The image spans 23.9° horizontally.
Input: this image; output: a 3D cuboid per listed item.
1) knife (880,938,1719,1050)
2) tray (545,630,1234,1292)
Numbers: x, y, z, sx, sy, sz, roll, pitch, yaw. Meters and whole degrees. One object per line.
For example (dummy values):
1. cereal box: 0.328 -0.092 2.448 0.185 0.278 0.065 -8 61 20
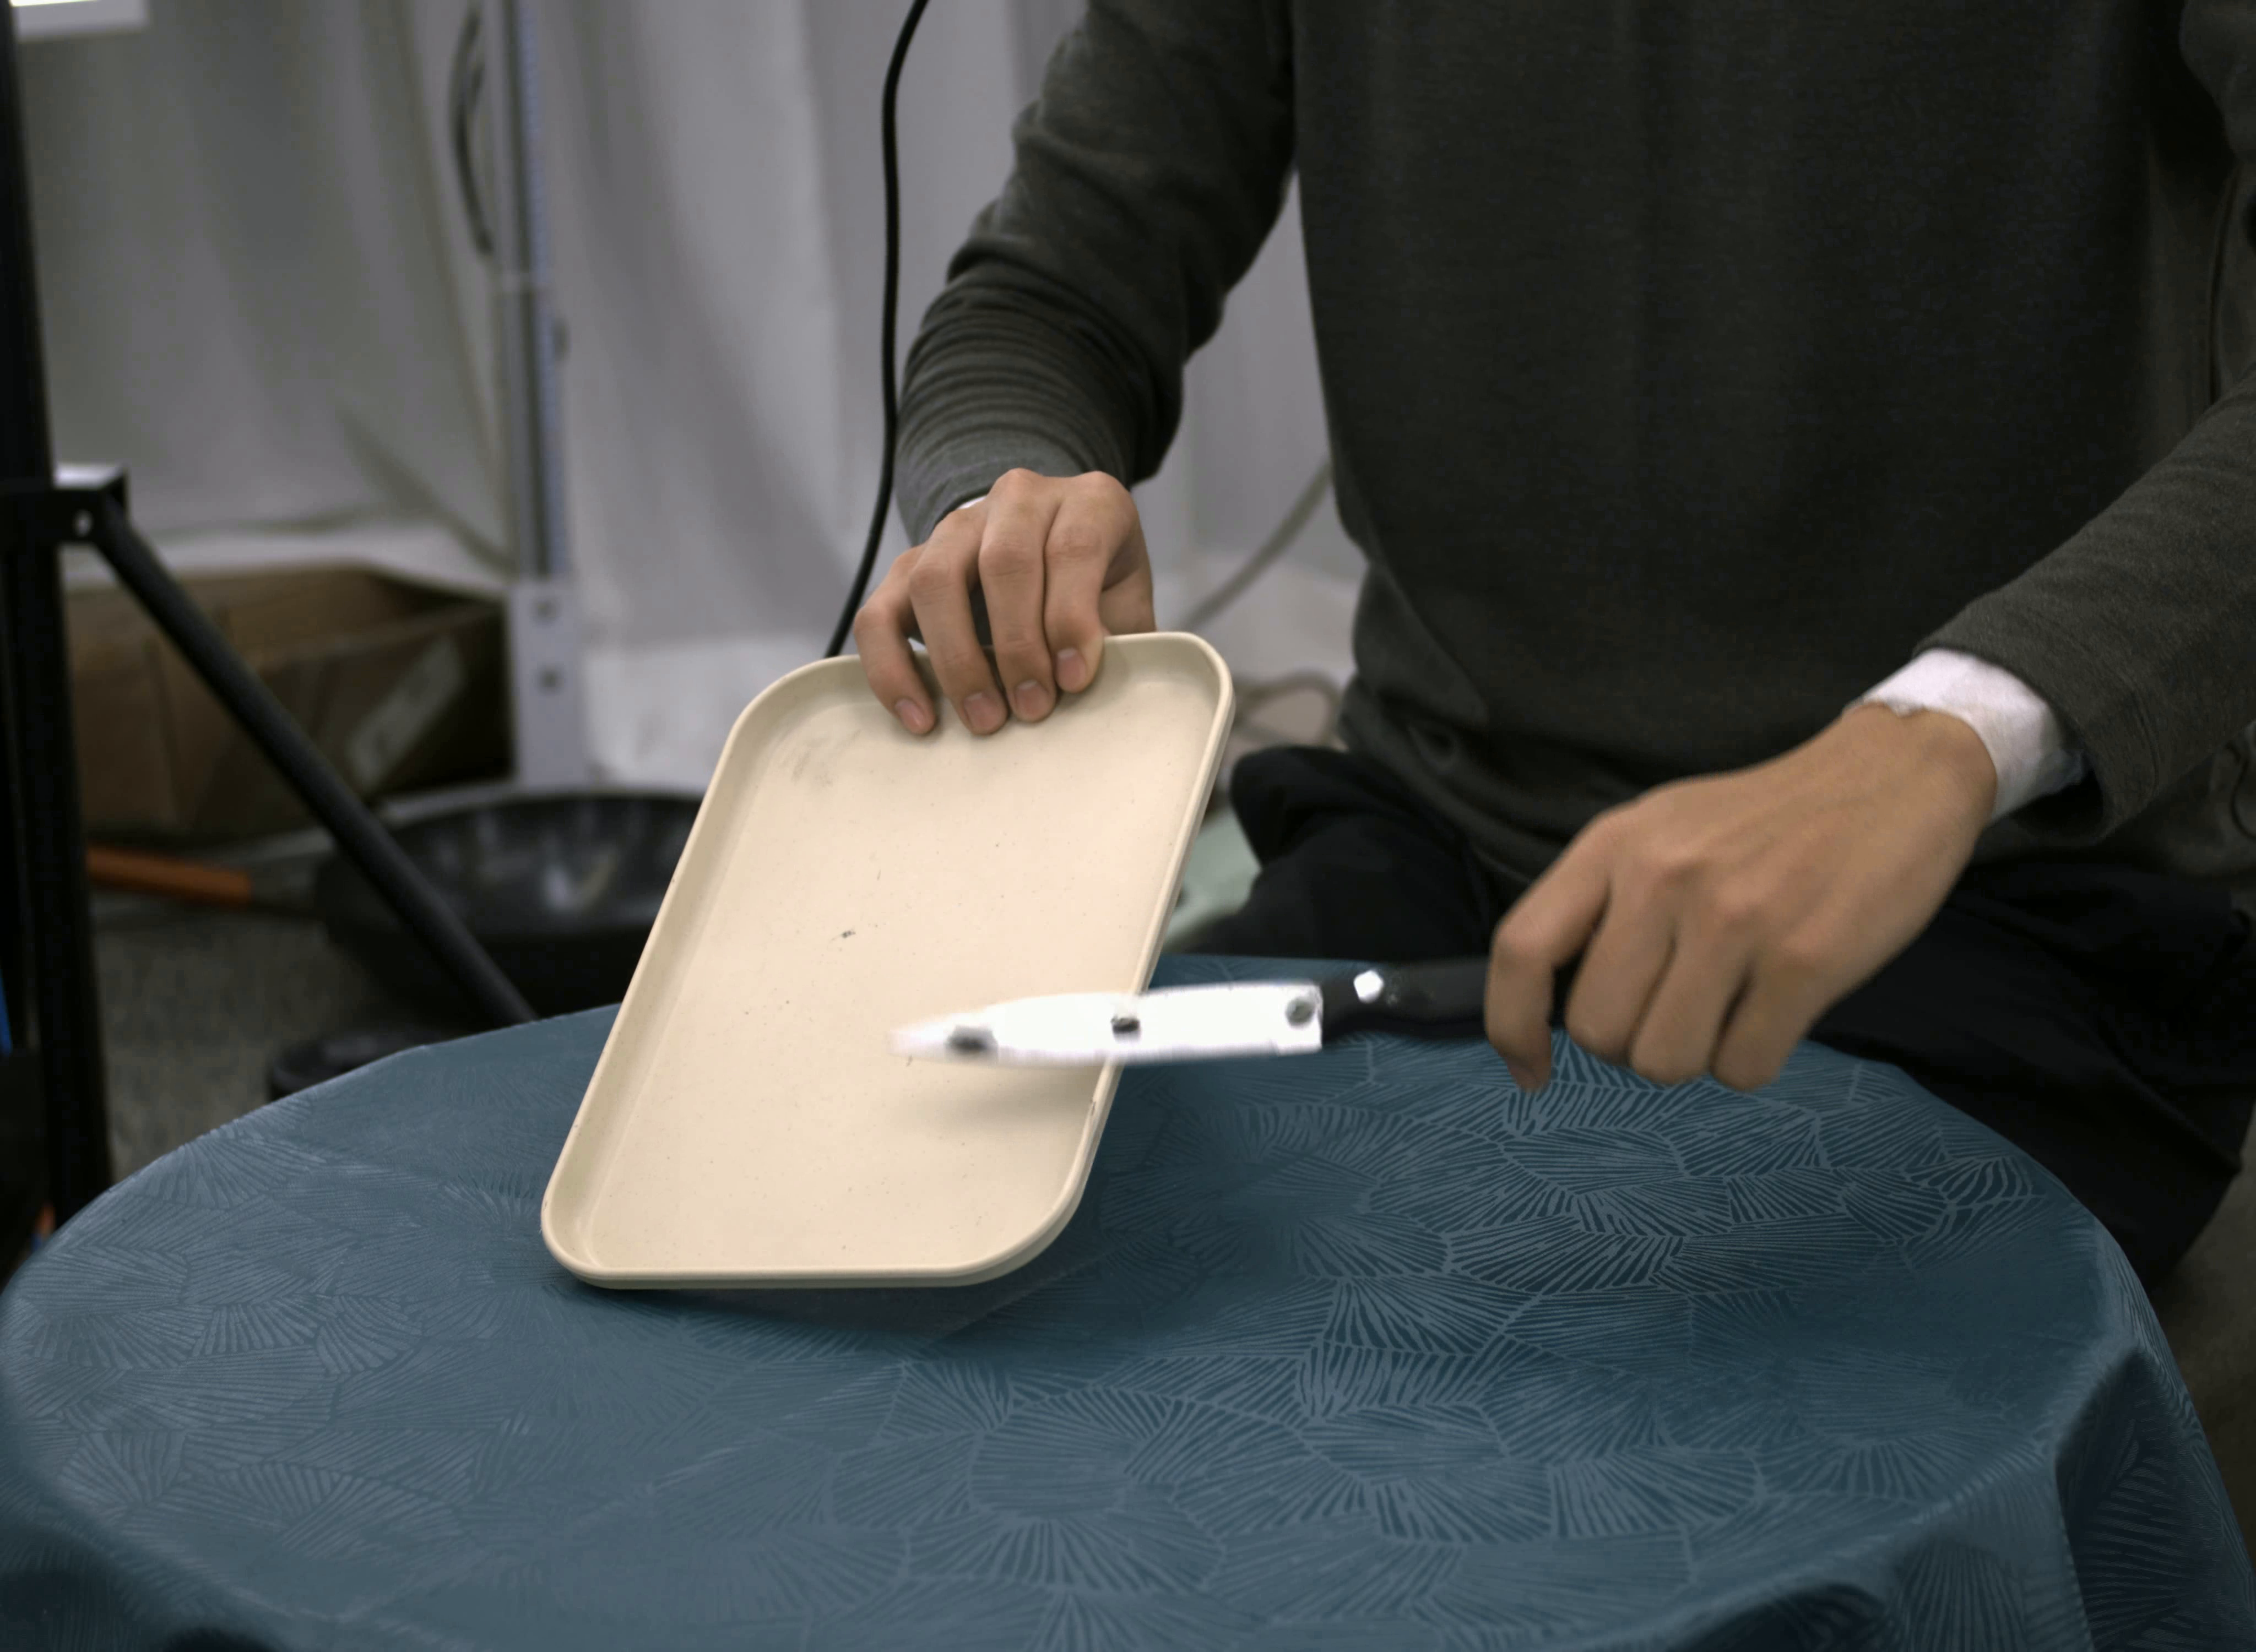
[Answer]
1. knife: 0.045 0.048 1.471 0.240 0.016 0.024 -5 46 15
2. tray: -0.066 0.039 1.546 0.174 0.017 0.240 -4 48 27
